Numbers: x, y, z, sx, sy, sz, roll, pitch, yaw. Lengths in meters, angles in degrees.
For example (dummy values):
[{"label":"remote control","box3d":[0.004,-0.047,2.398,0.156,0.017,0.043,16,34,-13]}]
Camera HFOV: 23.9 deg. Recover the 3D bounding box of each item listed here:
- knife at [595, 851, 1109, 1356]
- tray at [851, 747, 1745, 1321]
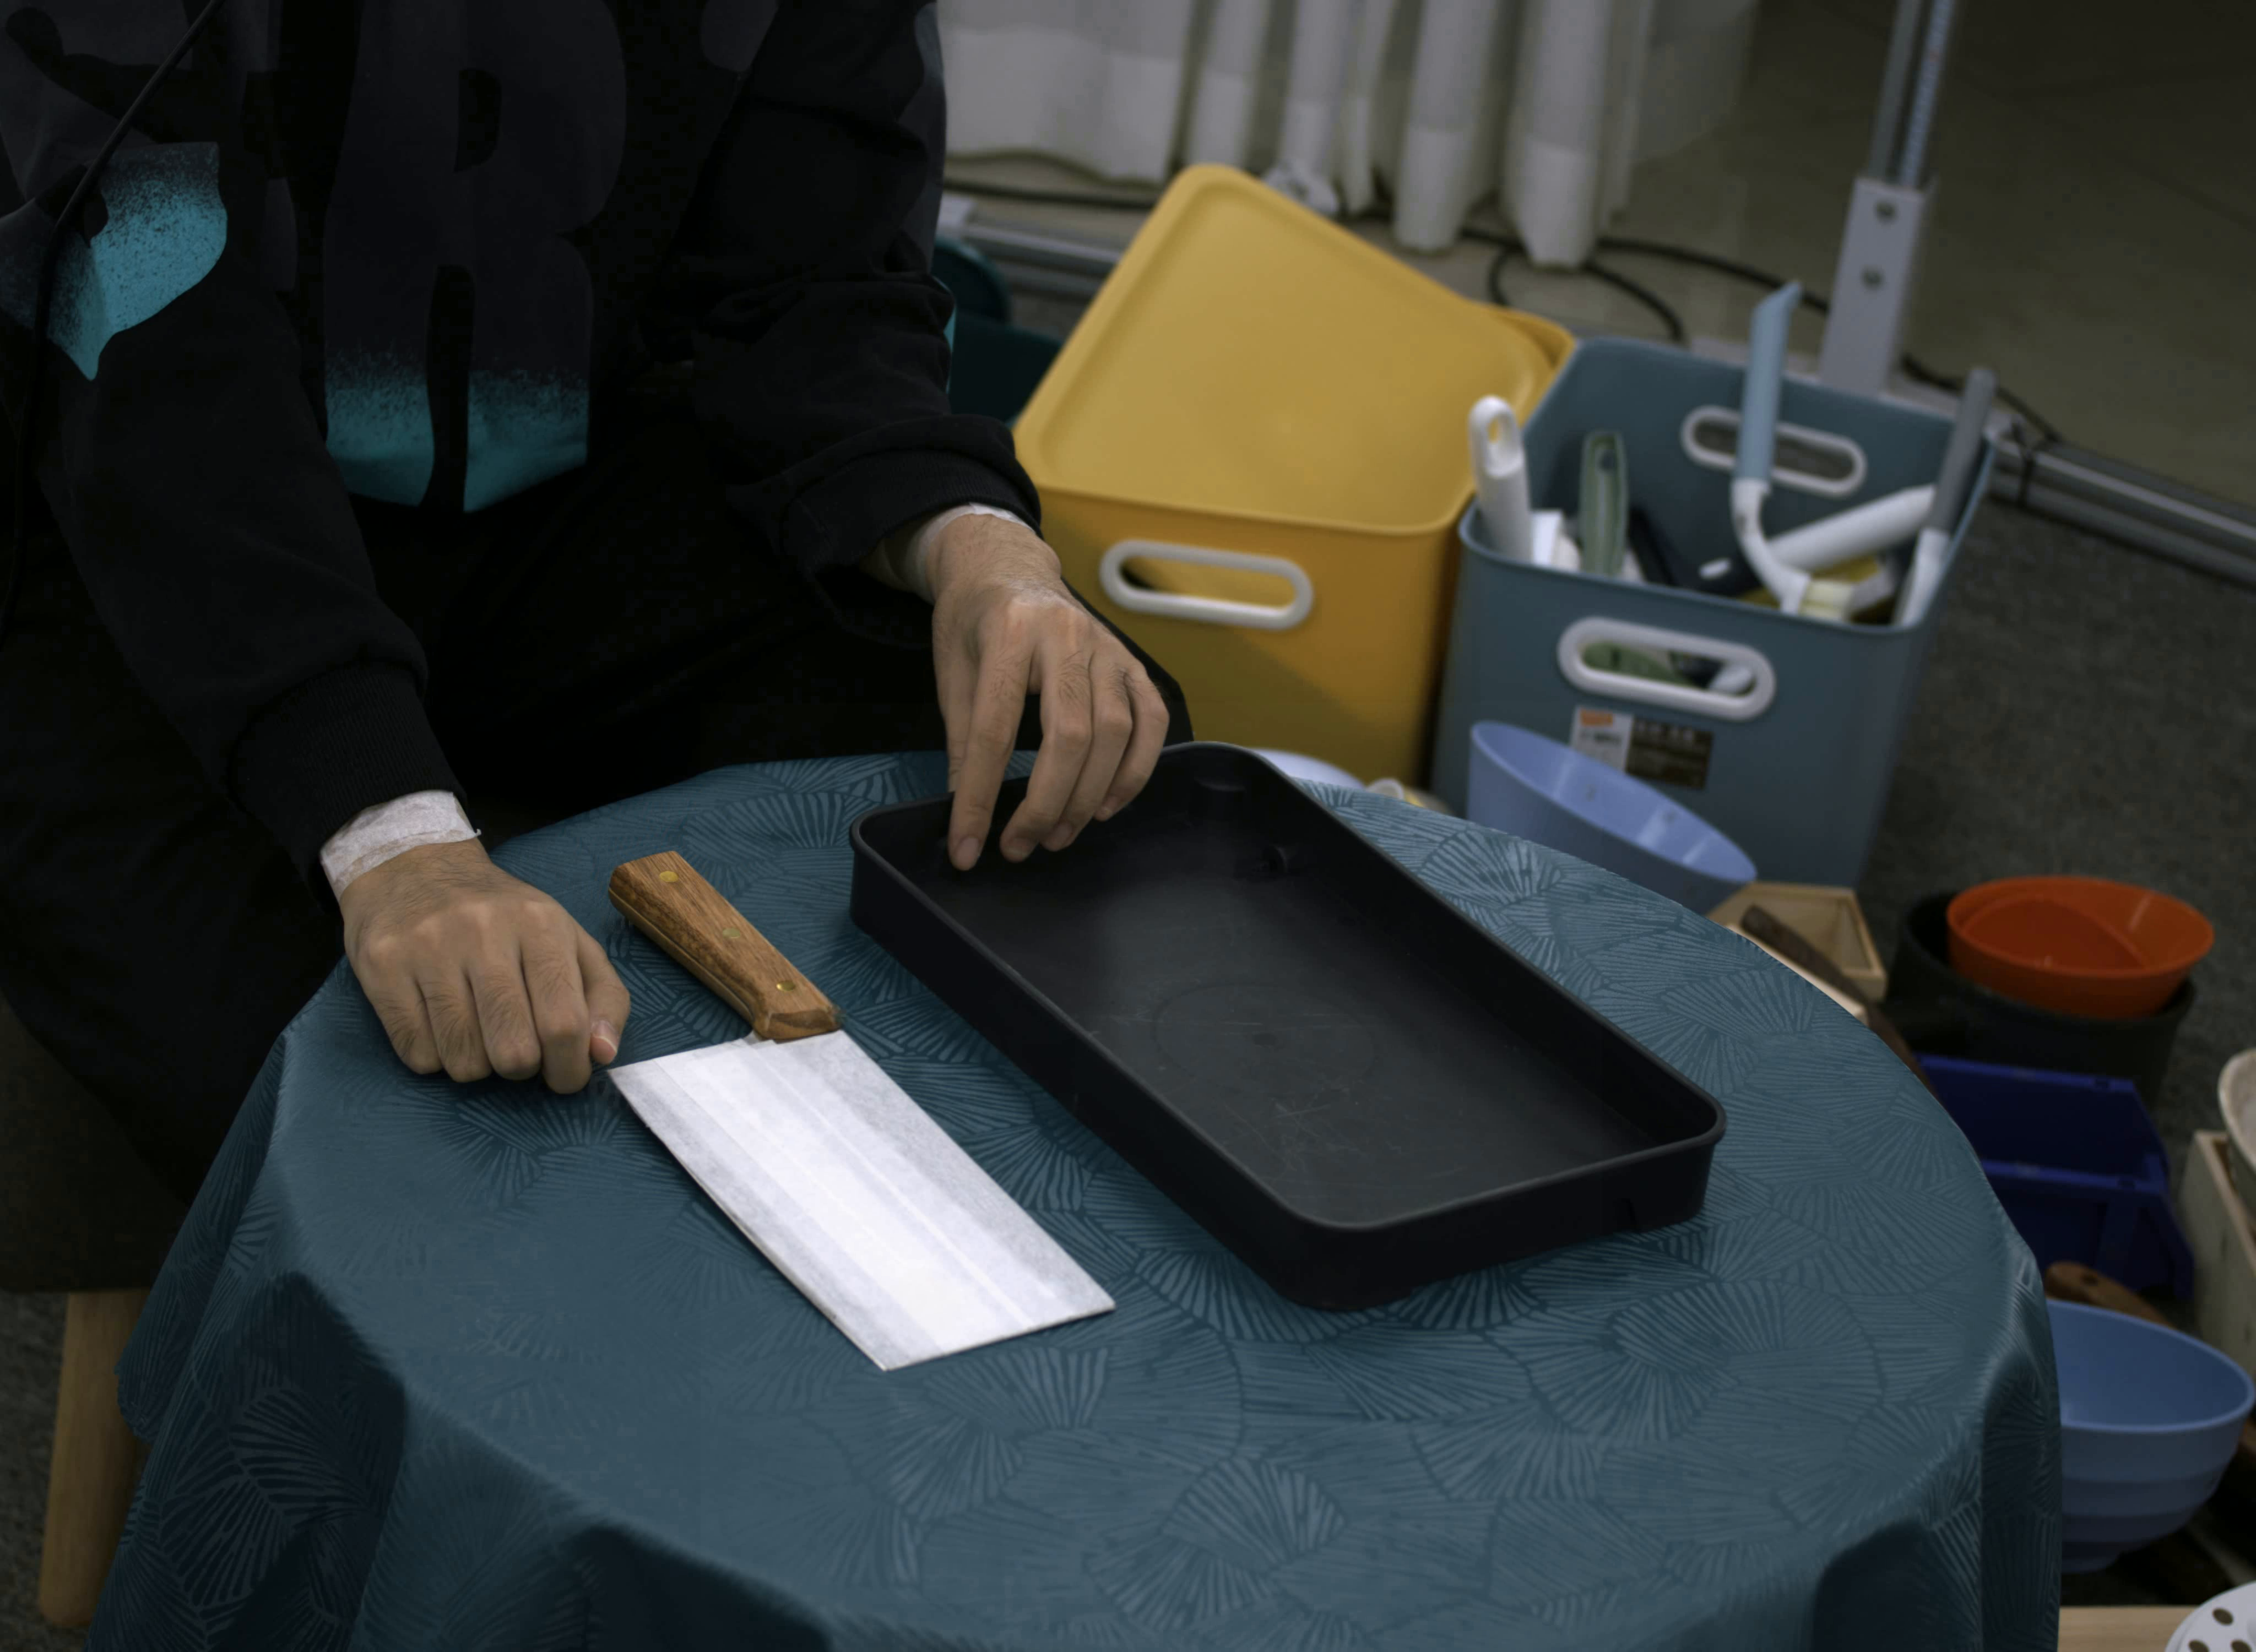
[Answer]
[{"label":"knife","box3d":[-0.121,0.093,1.819,0.092,0.021,0.308,-13,35,-30]},{"label":"tray","box3d":[0.054,0.067,1.885,0.183,0.037,0.321,-13,33,-33]}]
